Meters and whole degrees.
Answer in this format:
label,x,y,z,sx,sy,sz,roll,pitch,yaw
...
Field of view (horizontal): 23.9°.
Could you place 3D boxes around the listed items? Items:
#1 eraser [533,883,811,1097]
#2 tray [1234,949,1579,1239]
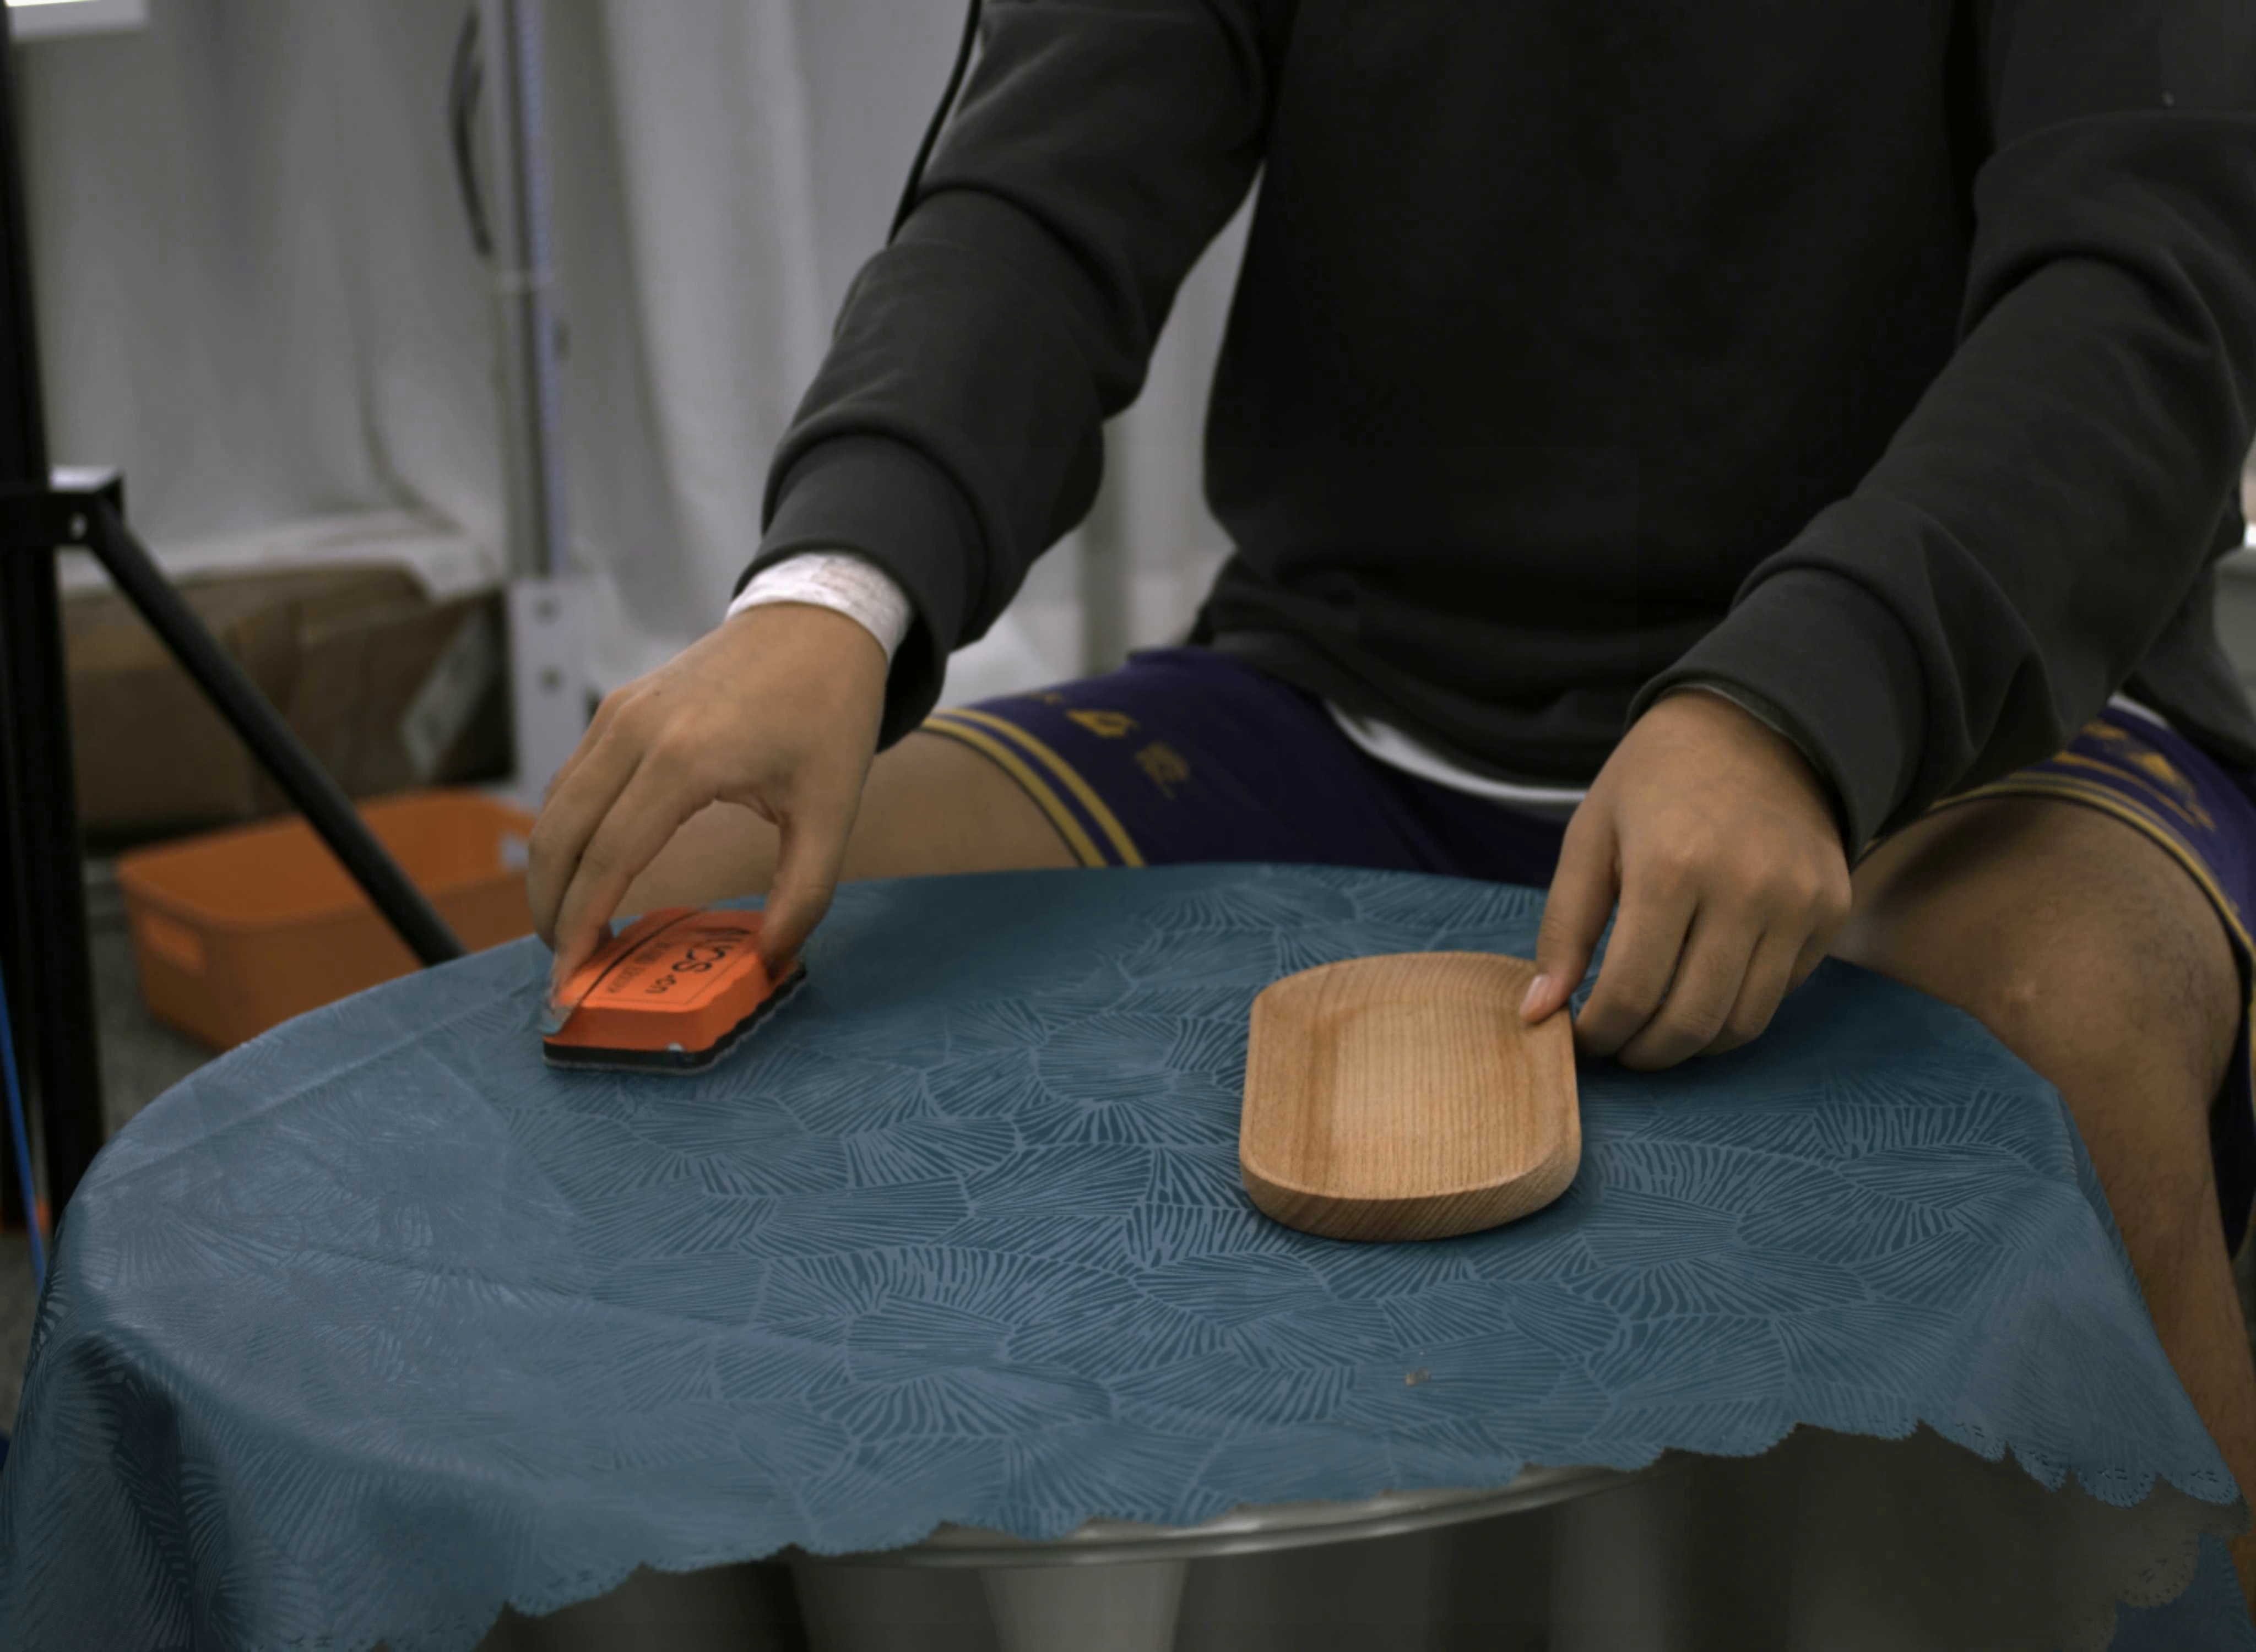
label,x,y,z,sx,sy,sz,roll,pitch,yaw
eraser,-0.147,0.053,1.737,0.059,0.023,0.107,27,22,11
tray,0.084,0.079,1.613,0.101,0.020,0.231,-3,15,3
